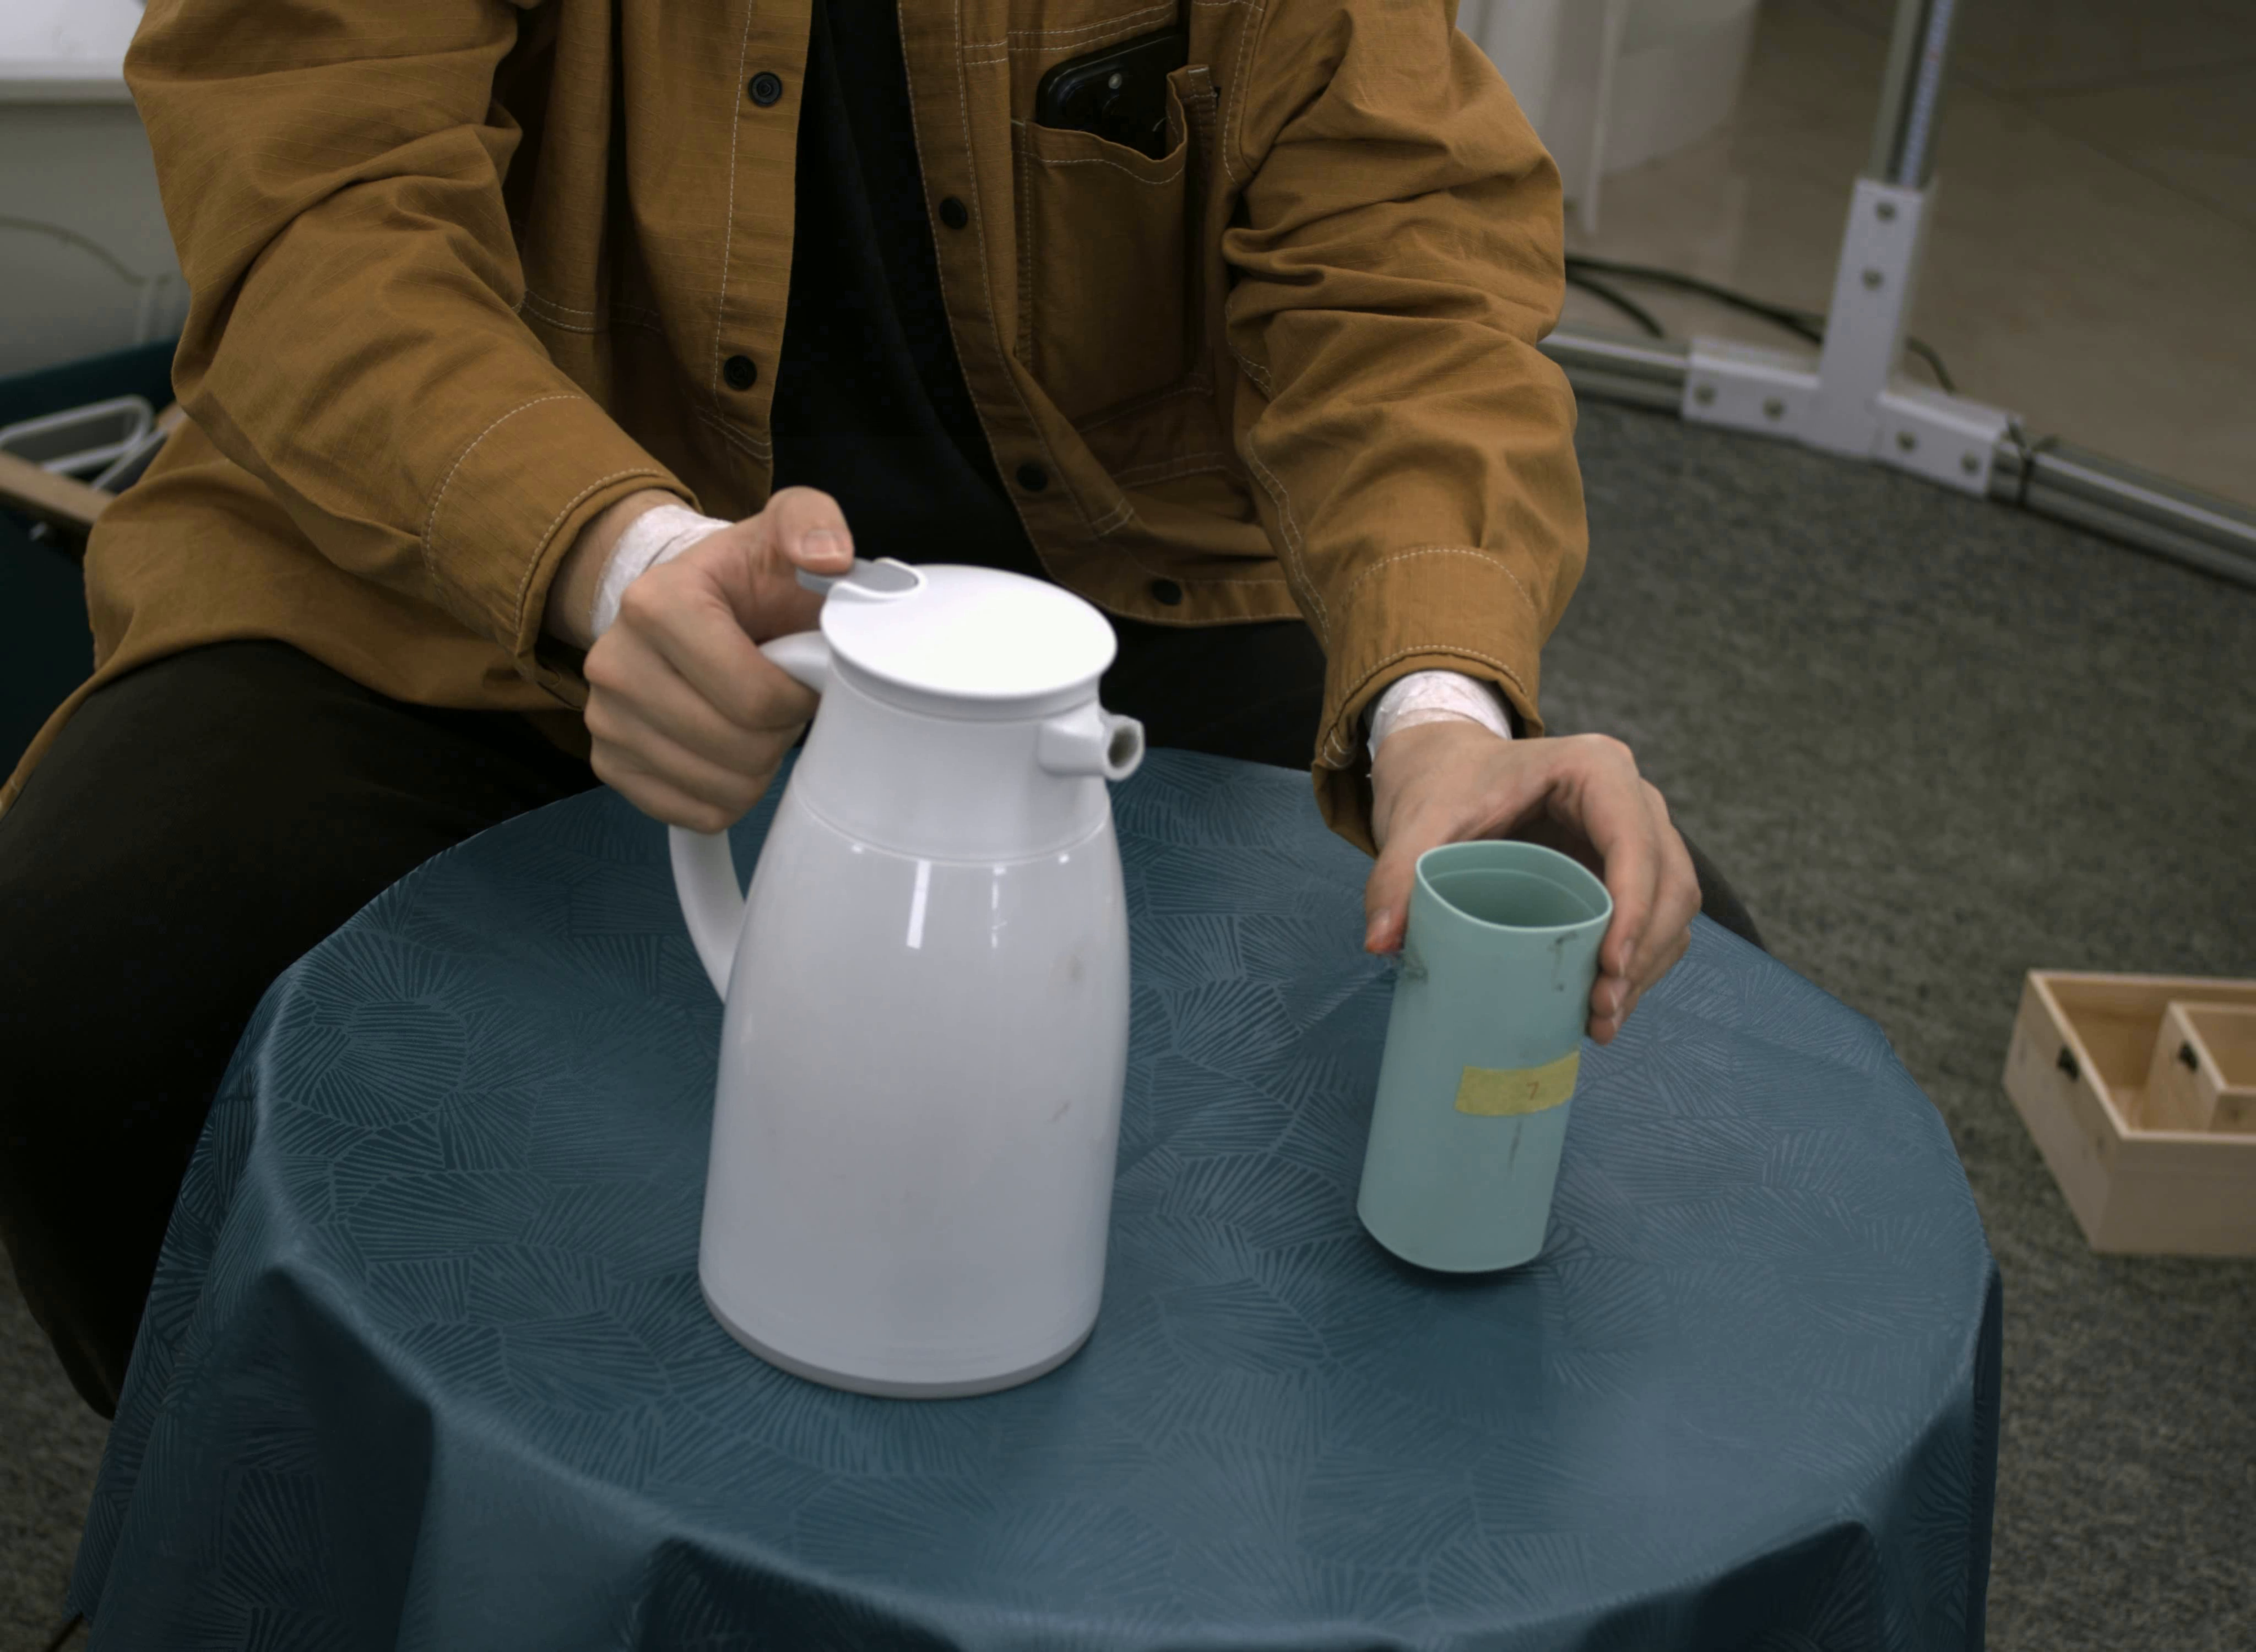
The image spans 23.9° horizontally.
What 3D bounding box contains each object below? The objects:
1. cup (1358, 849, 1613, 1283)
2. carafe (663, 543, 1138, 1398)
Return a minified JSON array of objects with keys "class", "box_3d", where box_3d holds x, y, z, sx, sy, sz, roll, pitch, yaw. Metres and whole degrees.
[{"class":"cup","box_3d":[0.117,0.079,1.765,0.066,0.132,0.067,7,25,-4]},{"class":"carafe","box_3d":[-0.079,0.035,1.688,0.168,0.248,0.132,21,30,28]}]
